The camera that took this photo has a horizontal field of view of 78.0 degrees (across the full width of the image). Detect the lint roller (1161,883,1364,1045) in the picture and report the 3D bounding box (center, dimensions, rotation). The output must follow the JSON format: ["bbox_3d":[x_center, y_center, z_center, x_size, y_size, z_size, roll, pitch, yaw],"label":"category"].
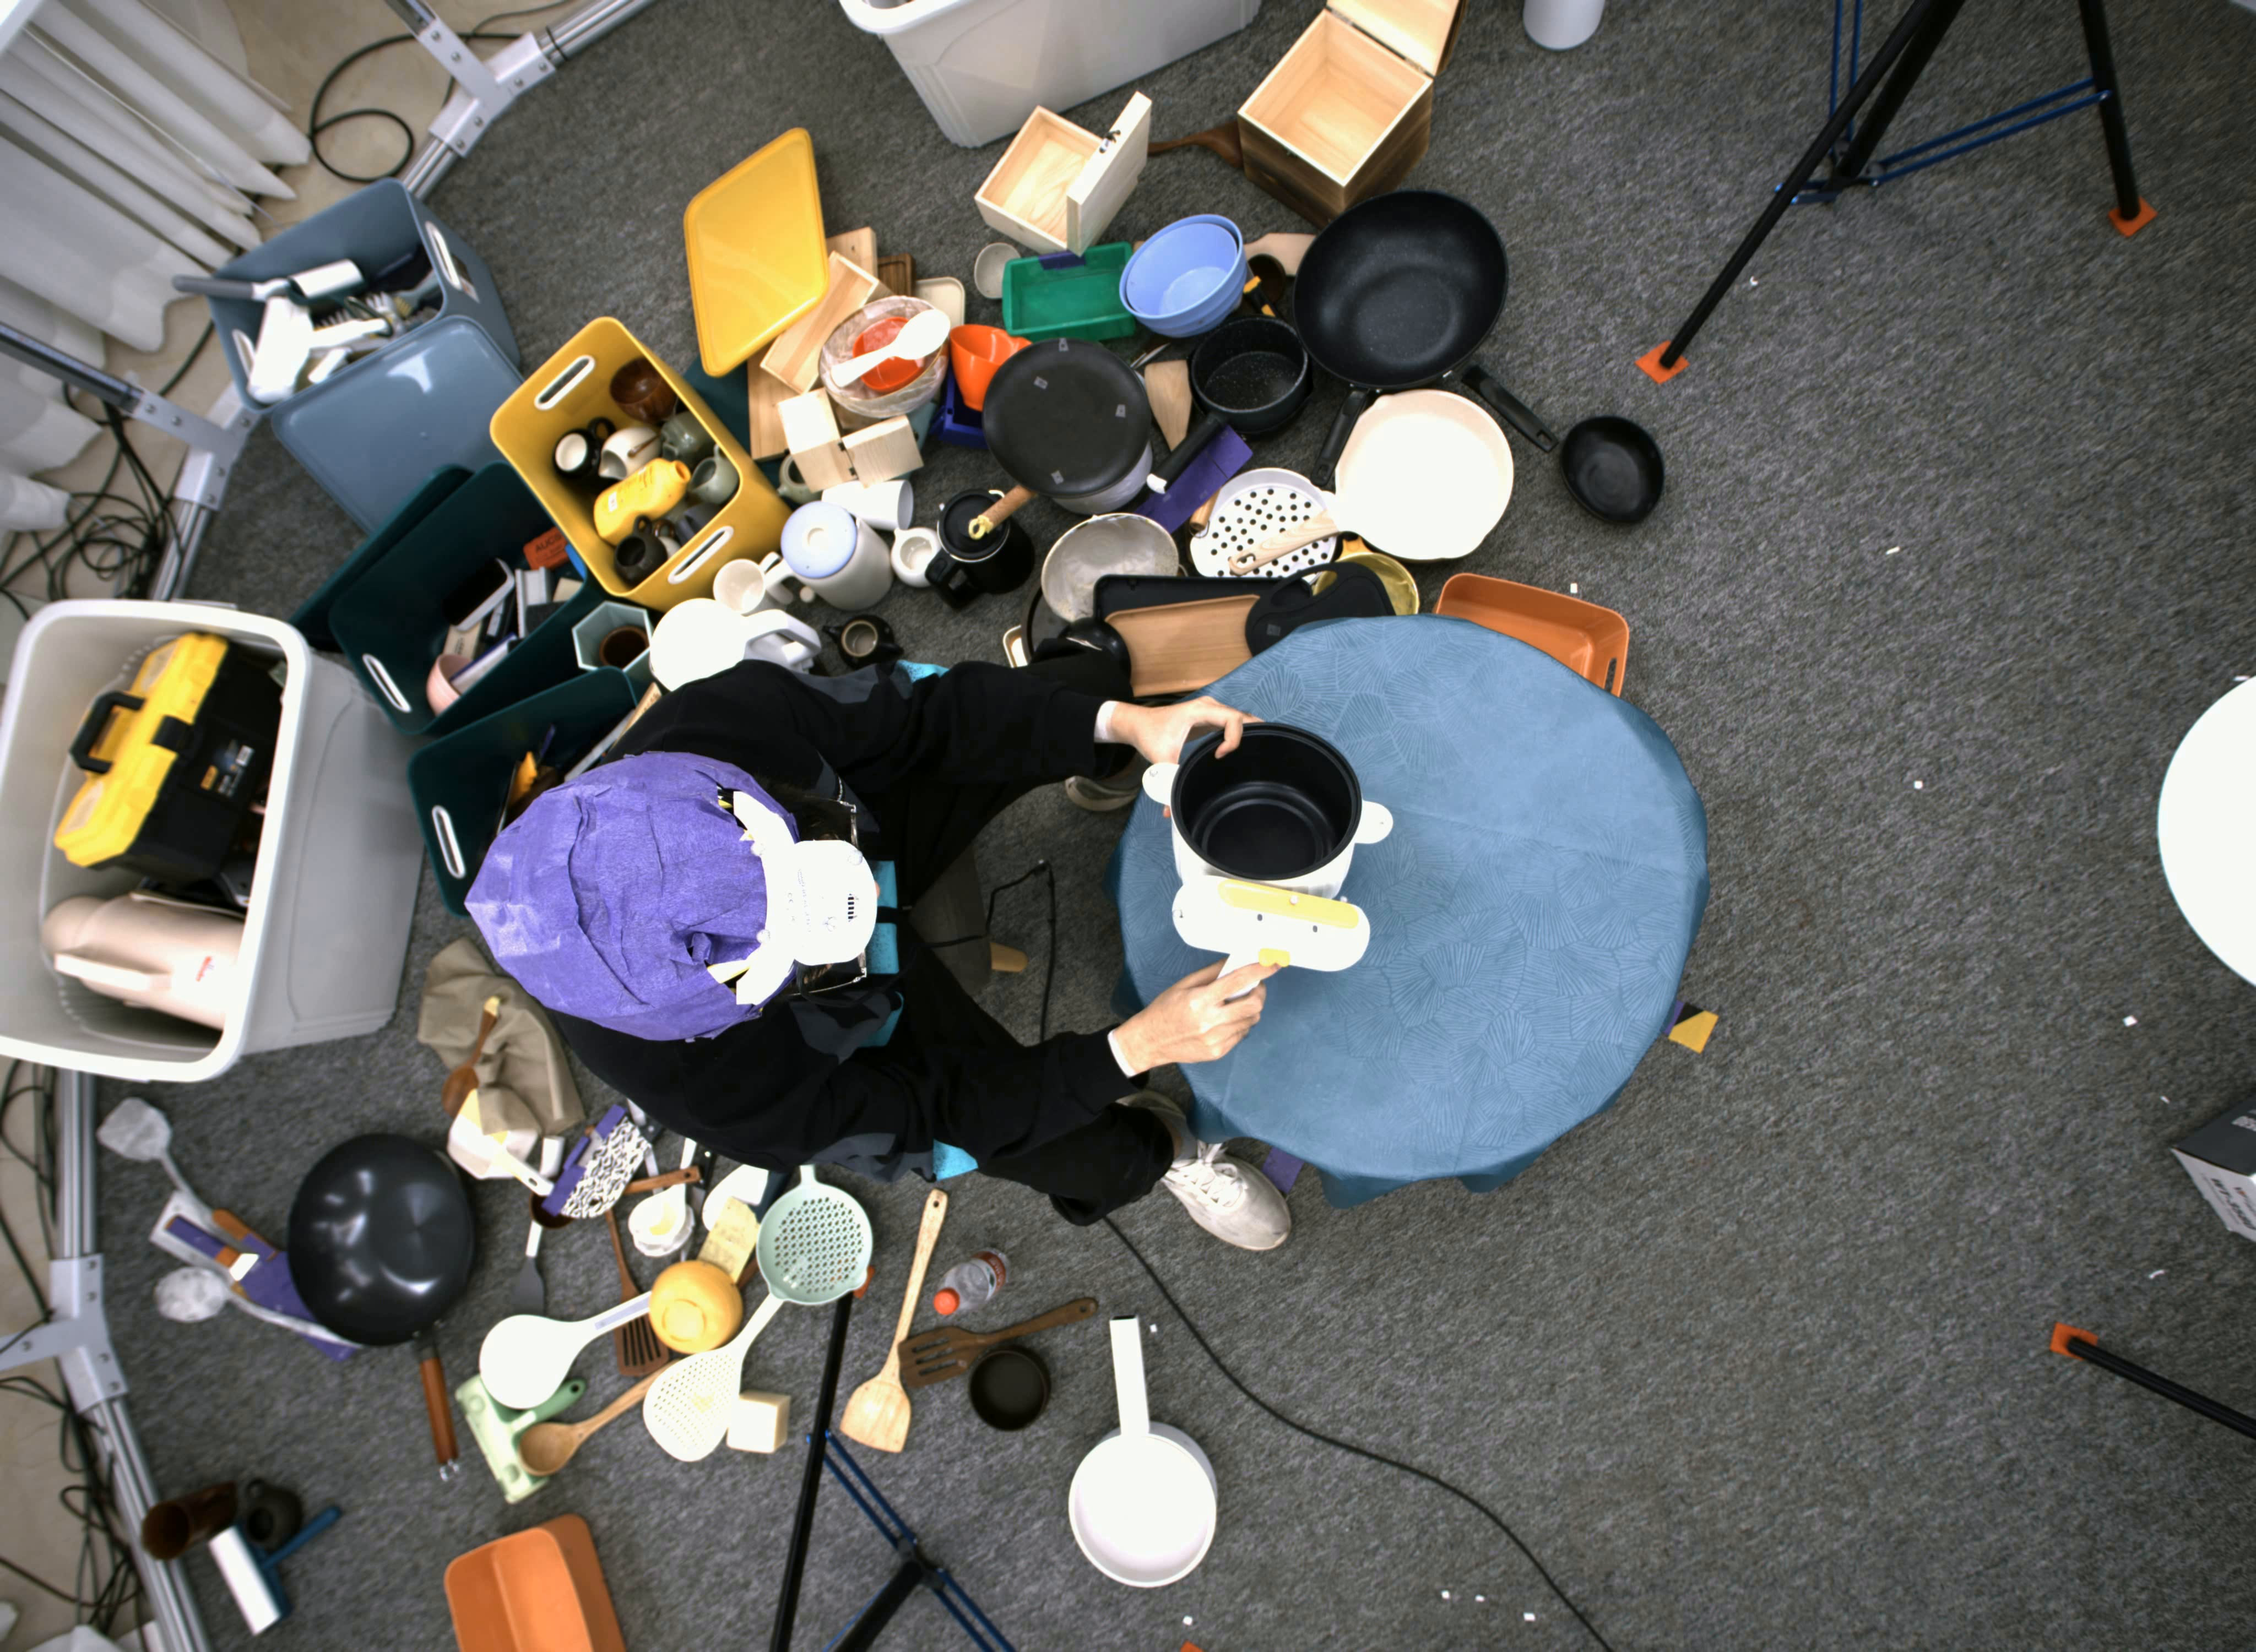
[{"bbox_3d":[0.108,0.133,1.311,0.192,0.197,0.072,5,50,-21],"label":"lint roller"}]

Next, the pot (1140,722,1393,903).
[{"bbox_3d":[0.132,0.005,1.358,0.241,0.145,0.186,12,63,9],"label":"pot"}]
